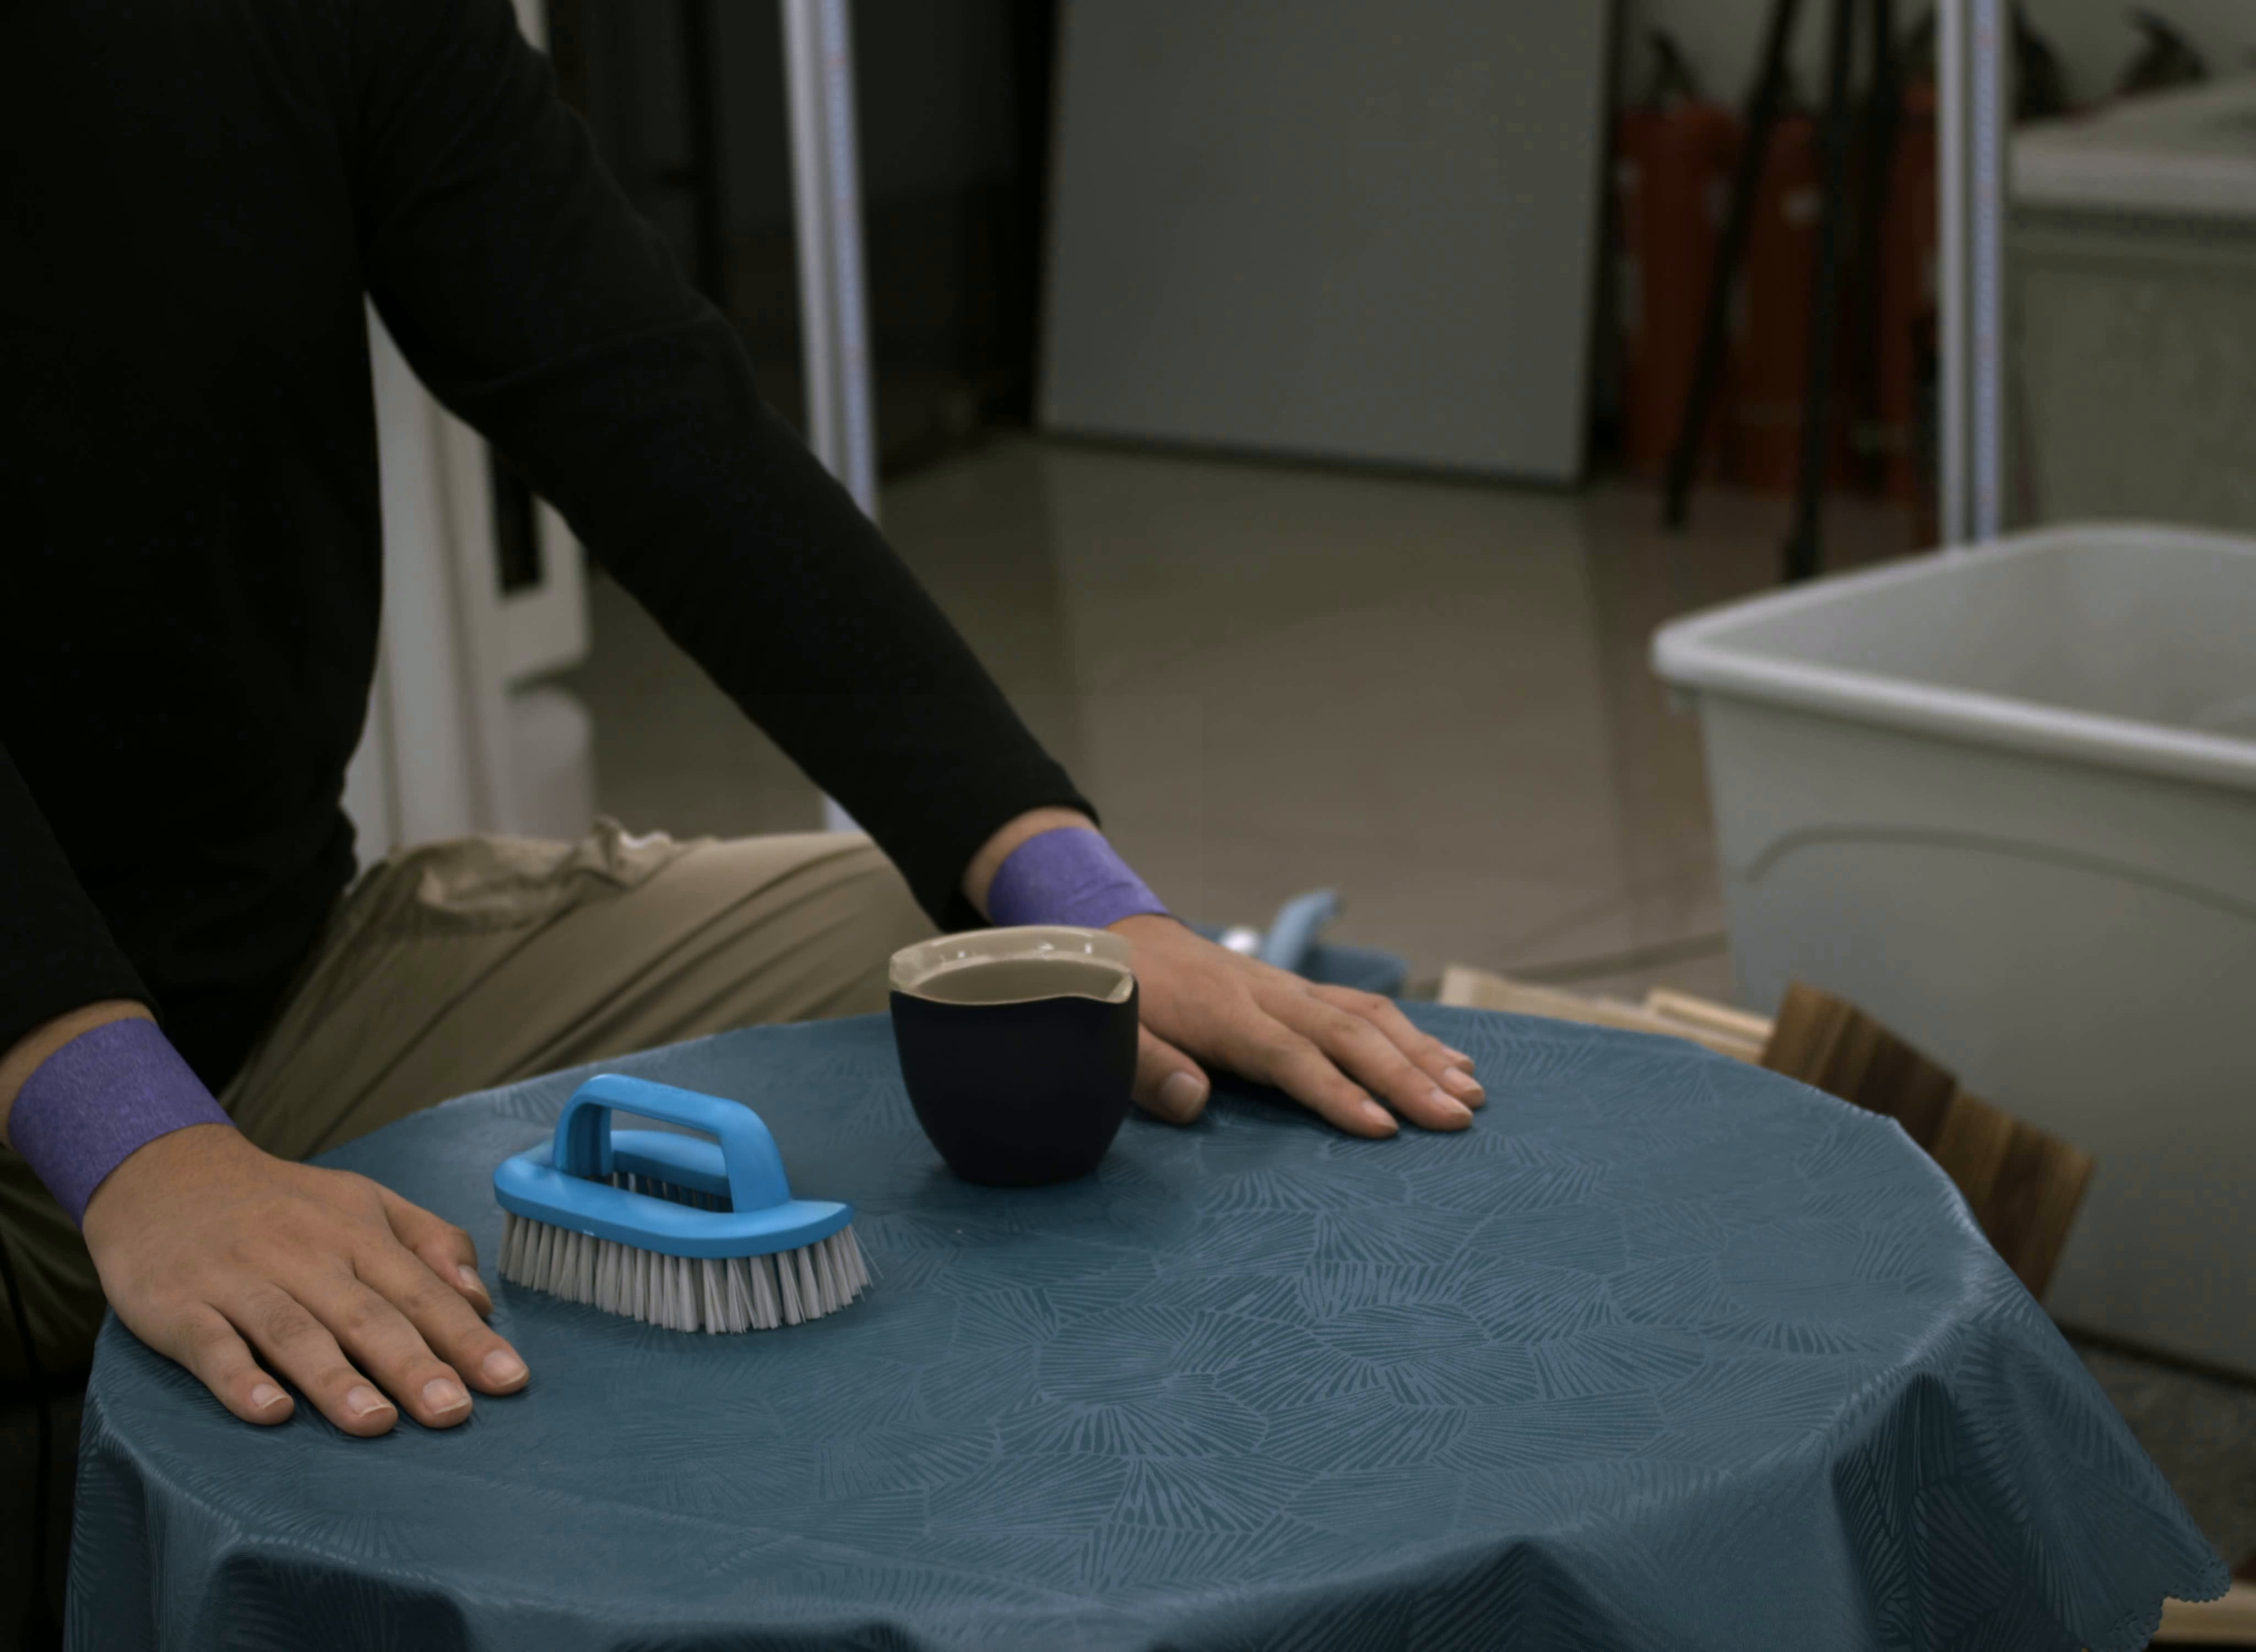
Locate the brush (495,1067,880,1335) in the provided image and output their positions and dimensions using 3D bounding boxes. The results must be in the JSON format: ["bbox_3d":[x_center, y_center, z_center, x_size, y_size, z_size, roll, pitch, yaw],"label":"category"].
[{"bbox_3d":[-0.143,0.111,1.709,0.083,0.064,0.143,-22,21,-41],"label":"brush"}]

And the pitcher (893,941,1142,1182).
[{"bbox_3d":[-0.033,0.078,1.796,0.082,0.072,0.097,-11,17,-33],"label":"pitcher"}]
